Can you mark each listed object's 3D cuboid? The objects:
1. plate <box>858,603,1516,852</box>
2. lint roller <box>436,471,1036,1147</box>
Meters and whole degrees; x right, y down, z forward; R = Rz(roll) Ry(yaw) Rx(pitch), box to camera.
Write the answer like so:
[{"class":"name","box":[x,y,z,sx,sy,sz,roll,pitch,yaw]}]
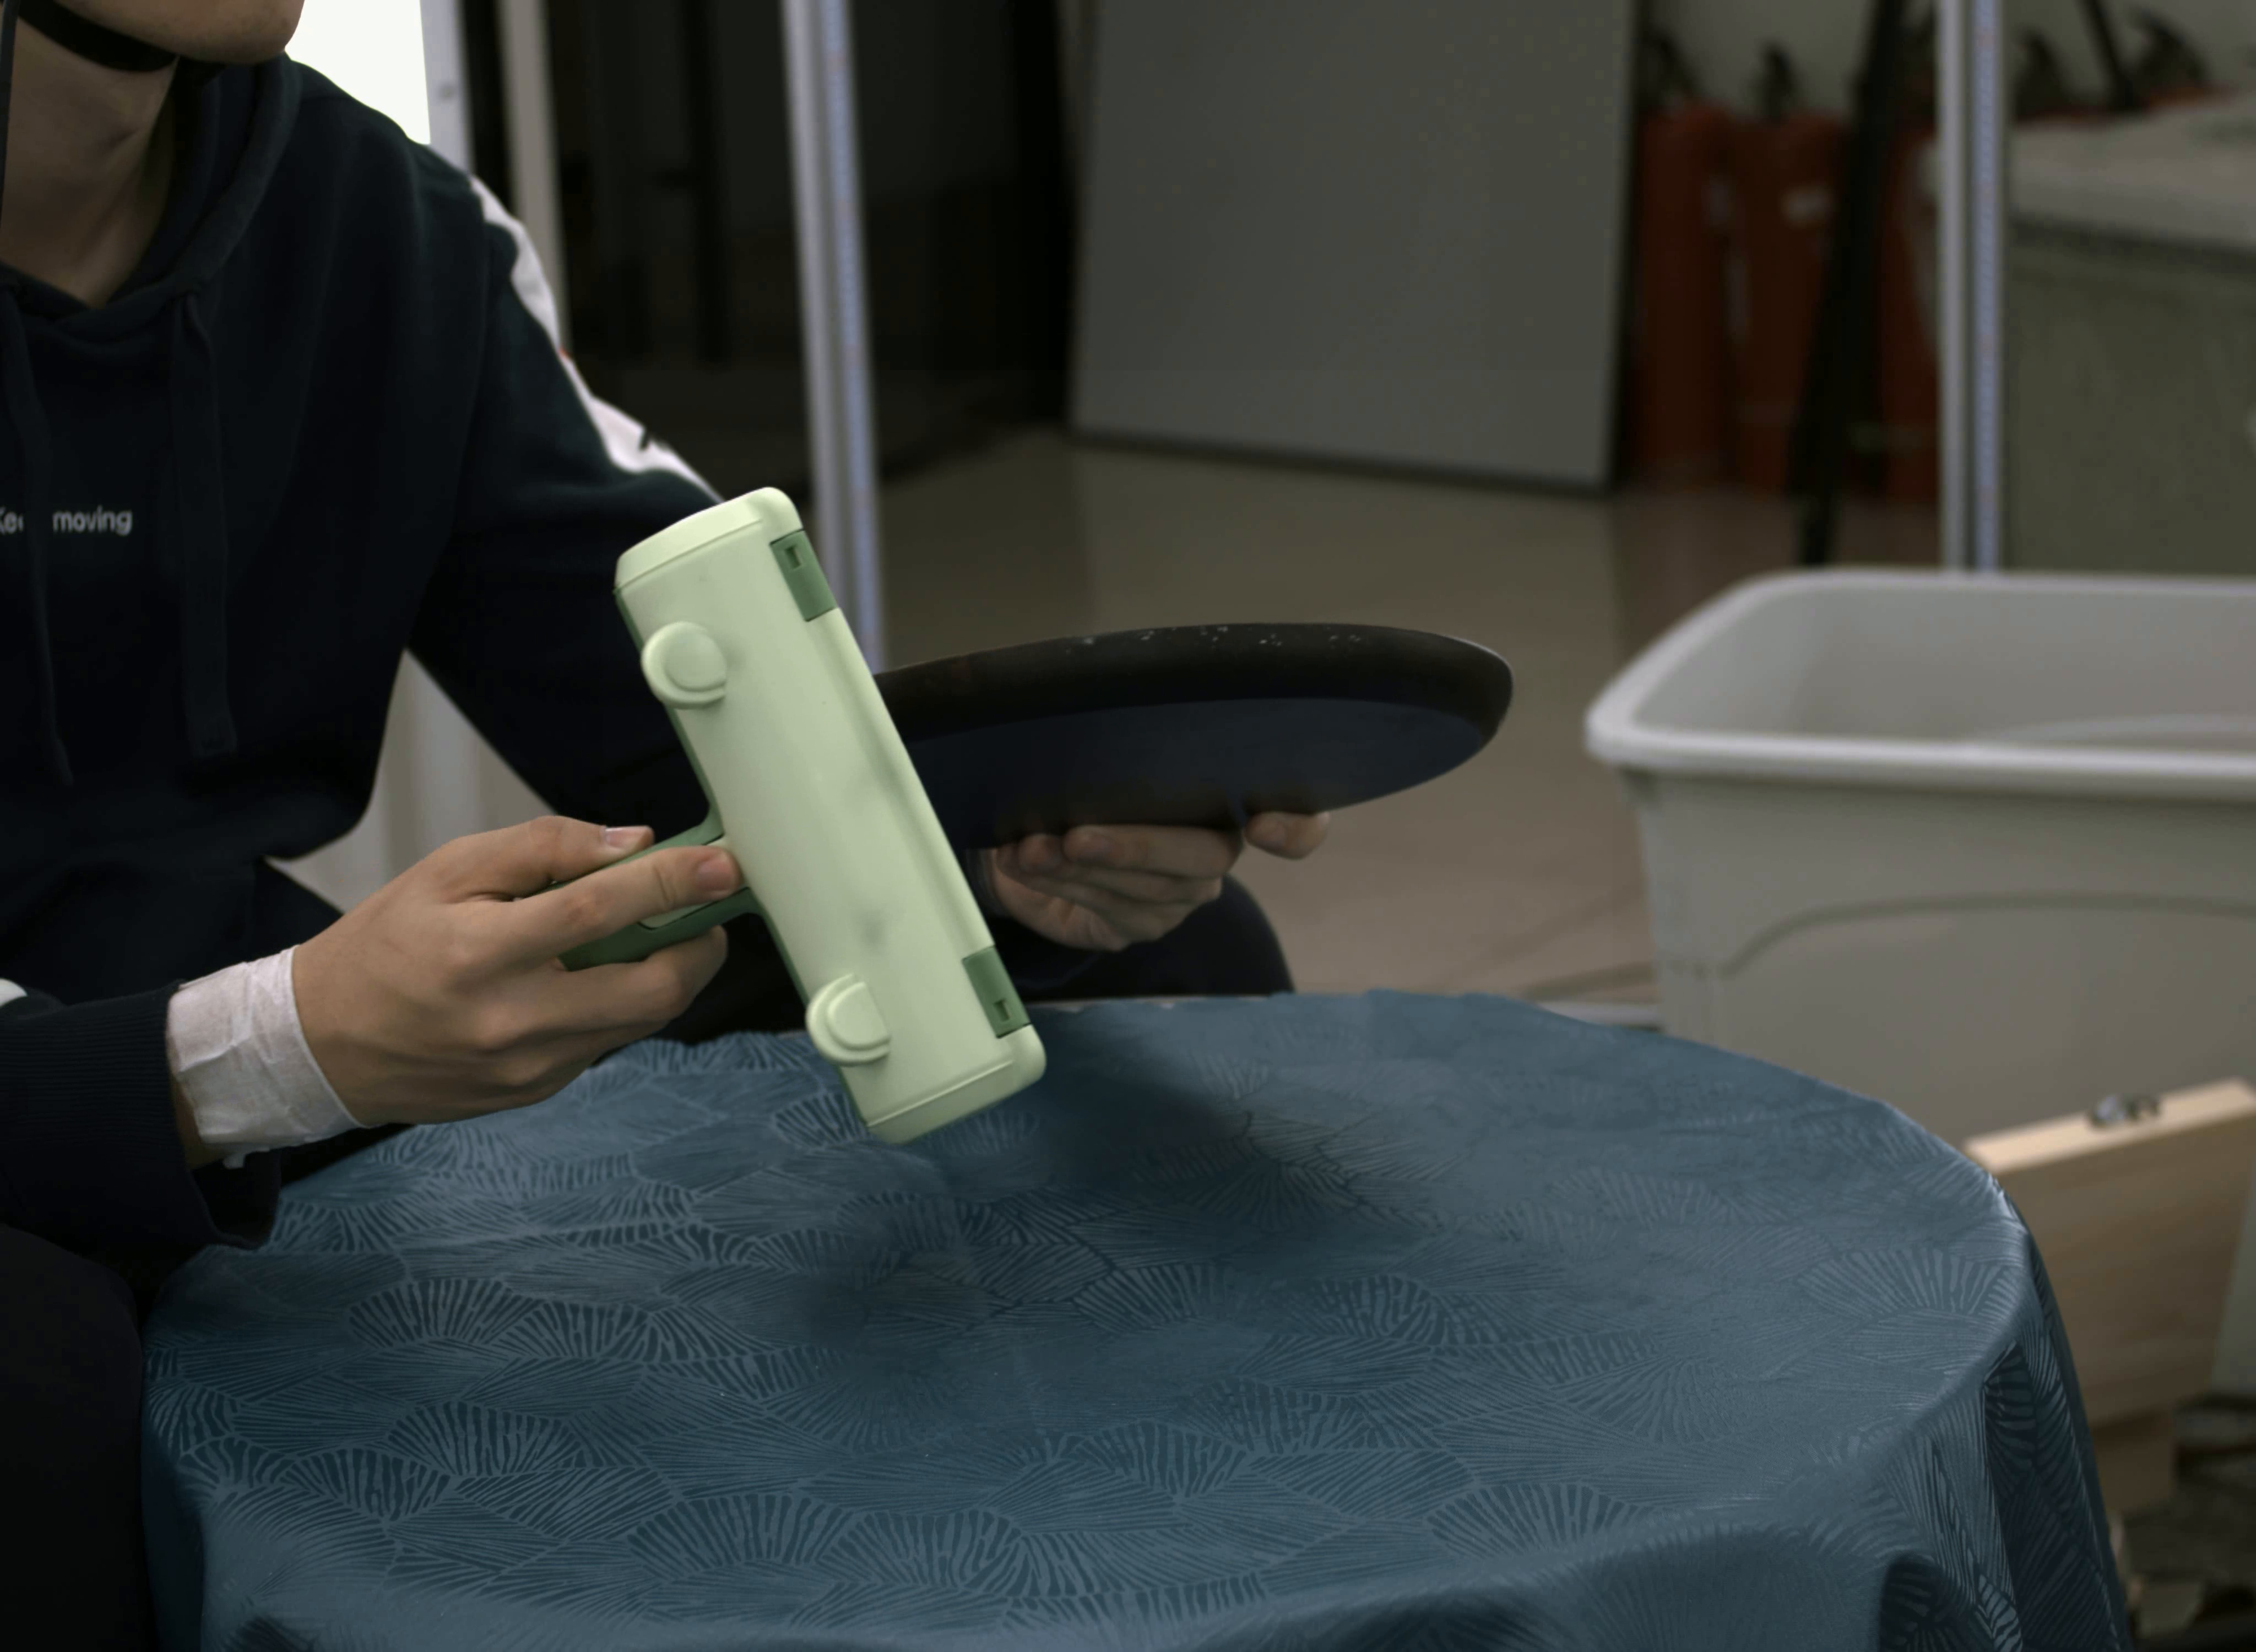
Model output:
[{"class":"plate","box":[0.001,-0.029,1.733,0.251,0.029,0.255,-6,-11,-2]},{"class":"lint roller","box":[-0.141,0.019,1.608,0.183,0.200,0.081,-25,-1,19]}]
